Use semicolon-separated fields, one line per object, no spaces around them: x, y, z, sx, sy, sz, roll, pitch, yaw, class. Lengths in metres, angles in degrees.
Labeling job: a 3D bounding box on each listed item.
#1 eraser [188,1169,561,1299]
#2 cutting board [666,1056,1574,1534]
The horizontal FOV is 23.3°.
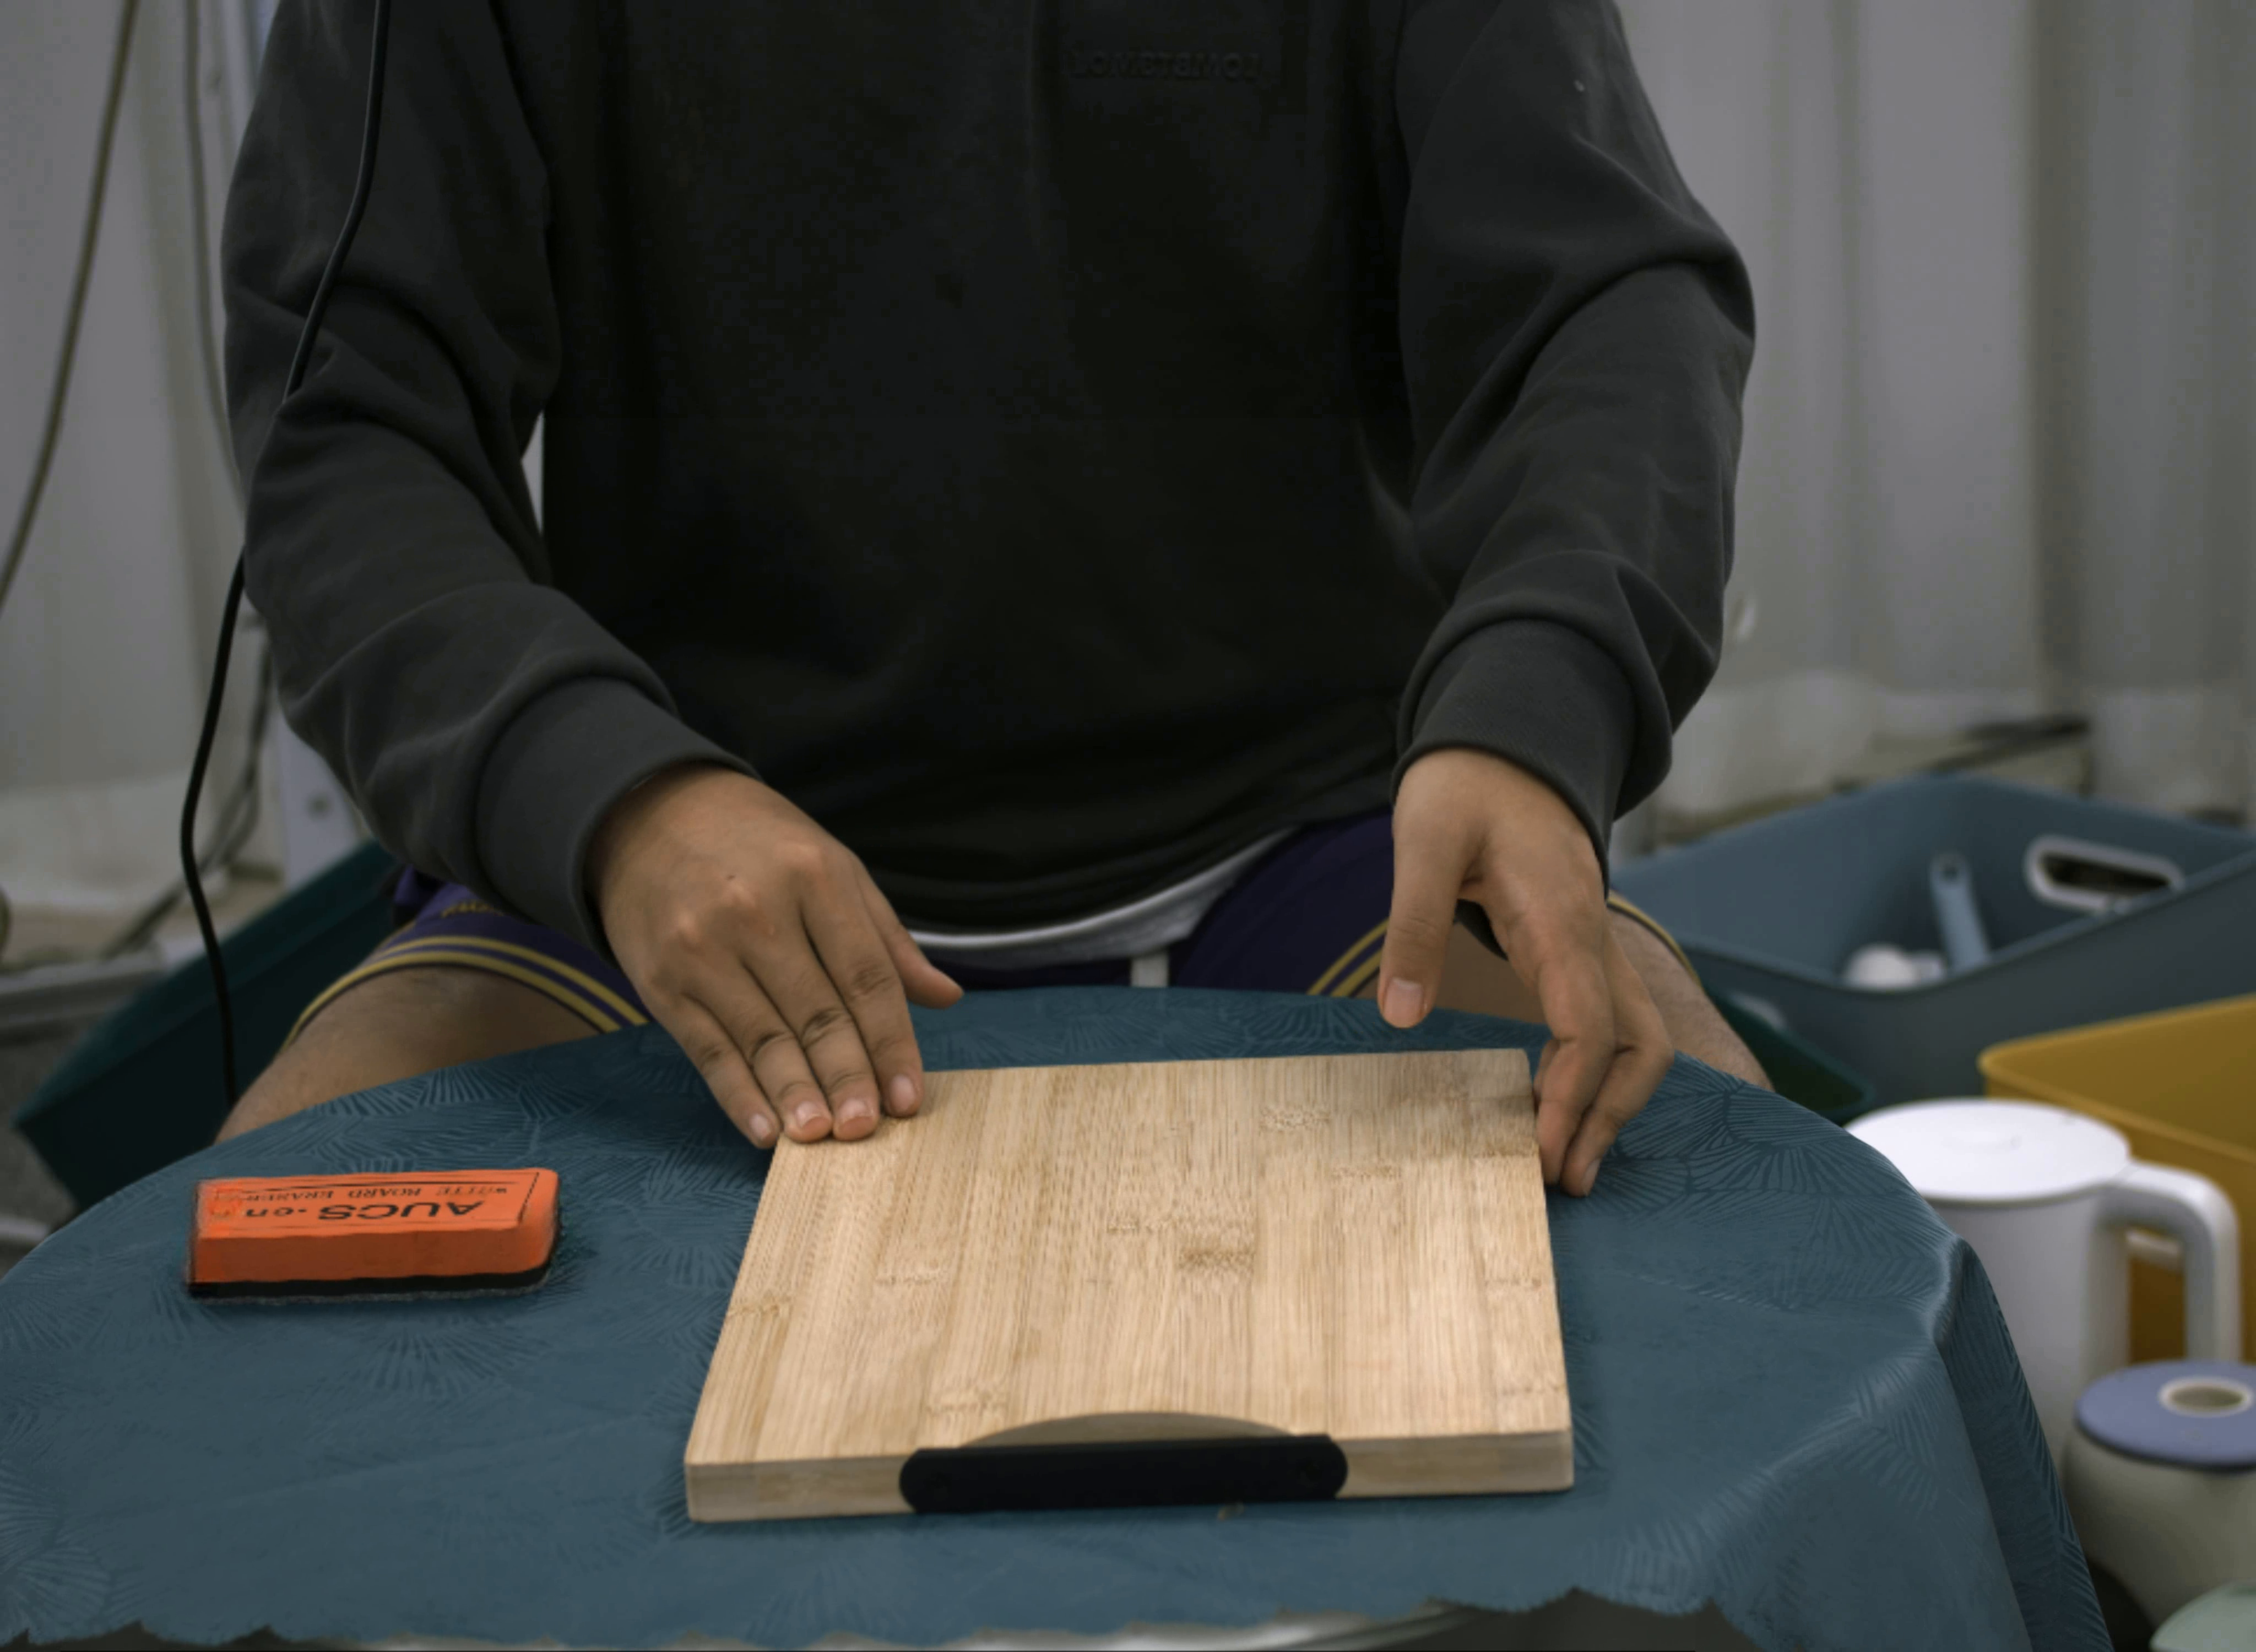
-0.230;0.125;1.676;0.108;0.023;0.059;-1;15;4;eraser
0.005;0.132;1.617;0.250;0.023;0.351;-3;15;2;cutting board
